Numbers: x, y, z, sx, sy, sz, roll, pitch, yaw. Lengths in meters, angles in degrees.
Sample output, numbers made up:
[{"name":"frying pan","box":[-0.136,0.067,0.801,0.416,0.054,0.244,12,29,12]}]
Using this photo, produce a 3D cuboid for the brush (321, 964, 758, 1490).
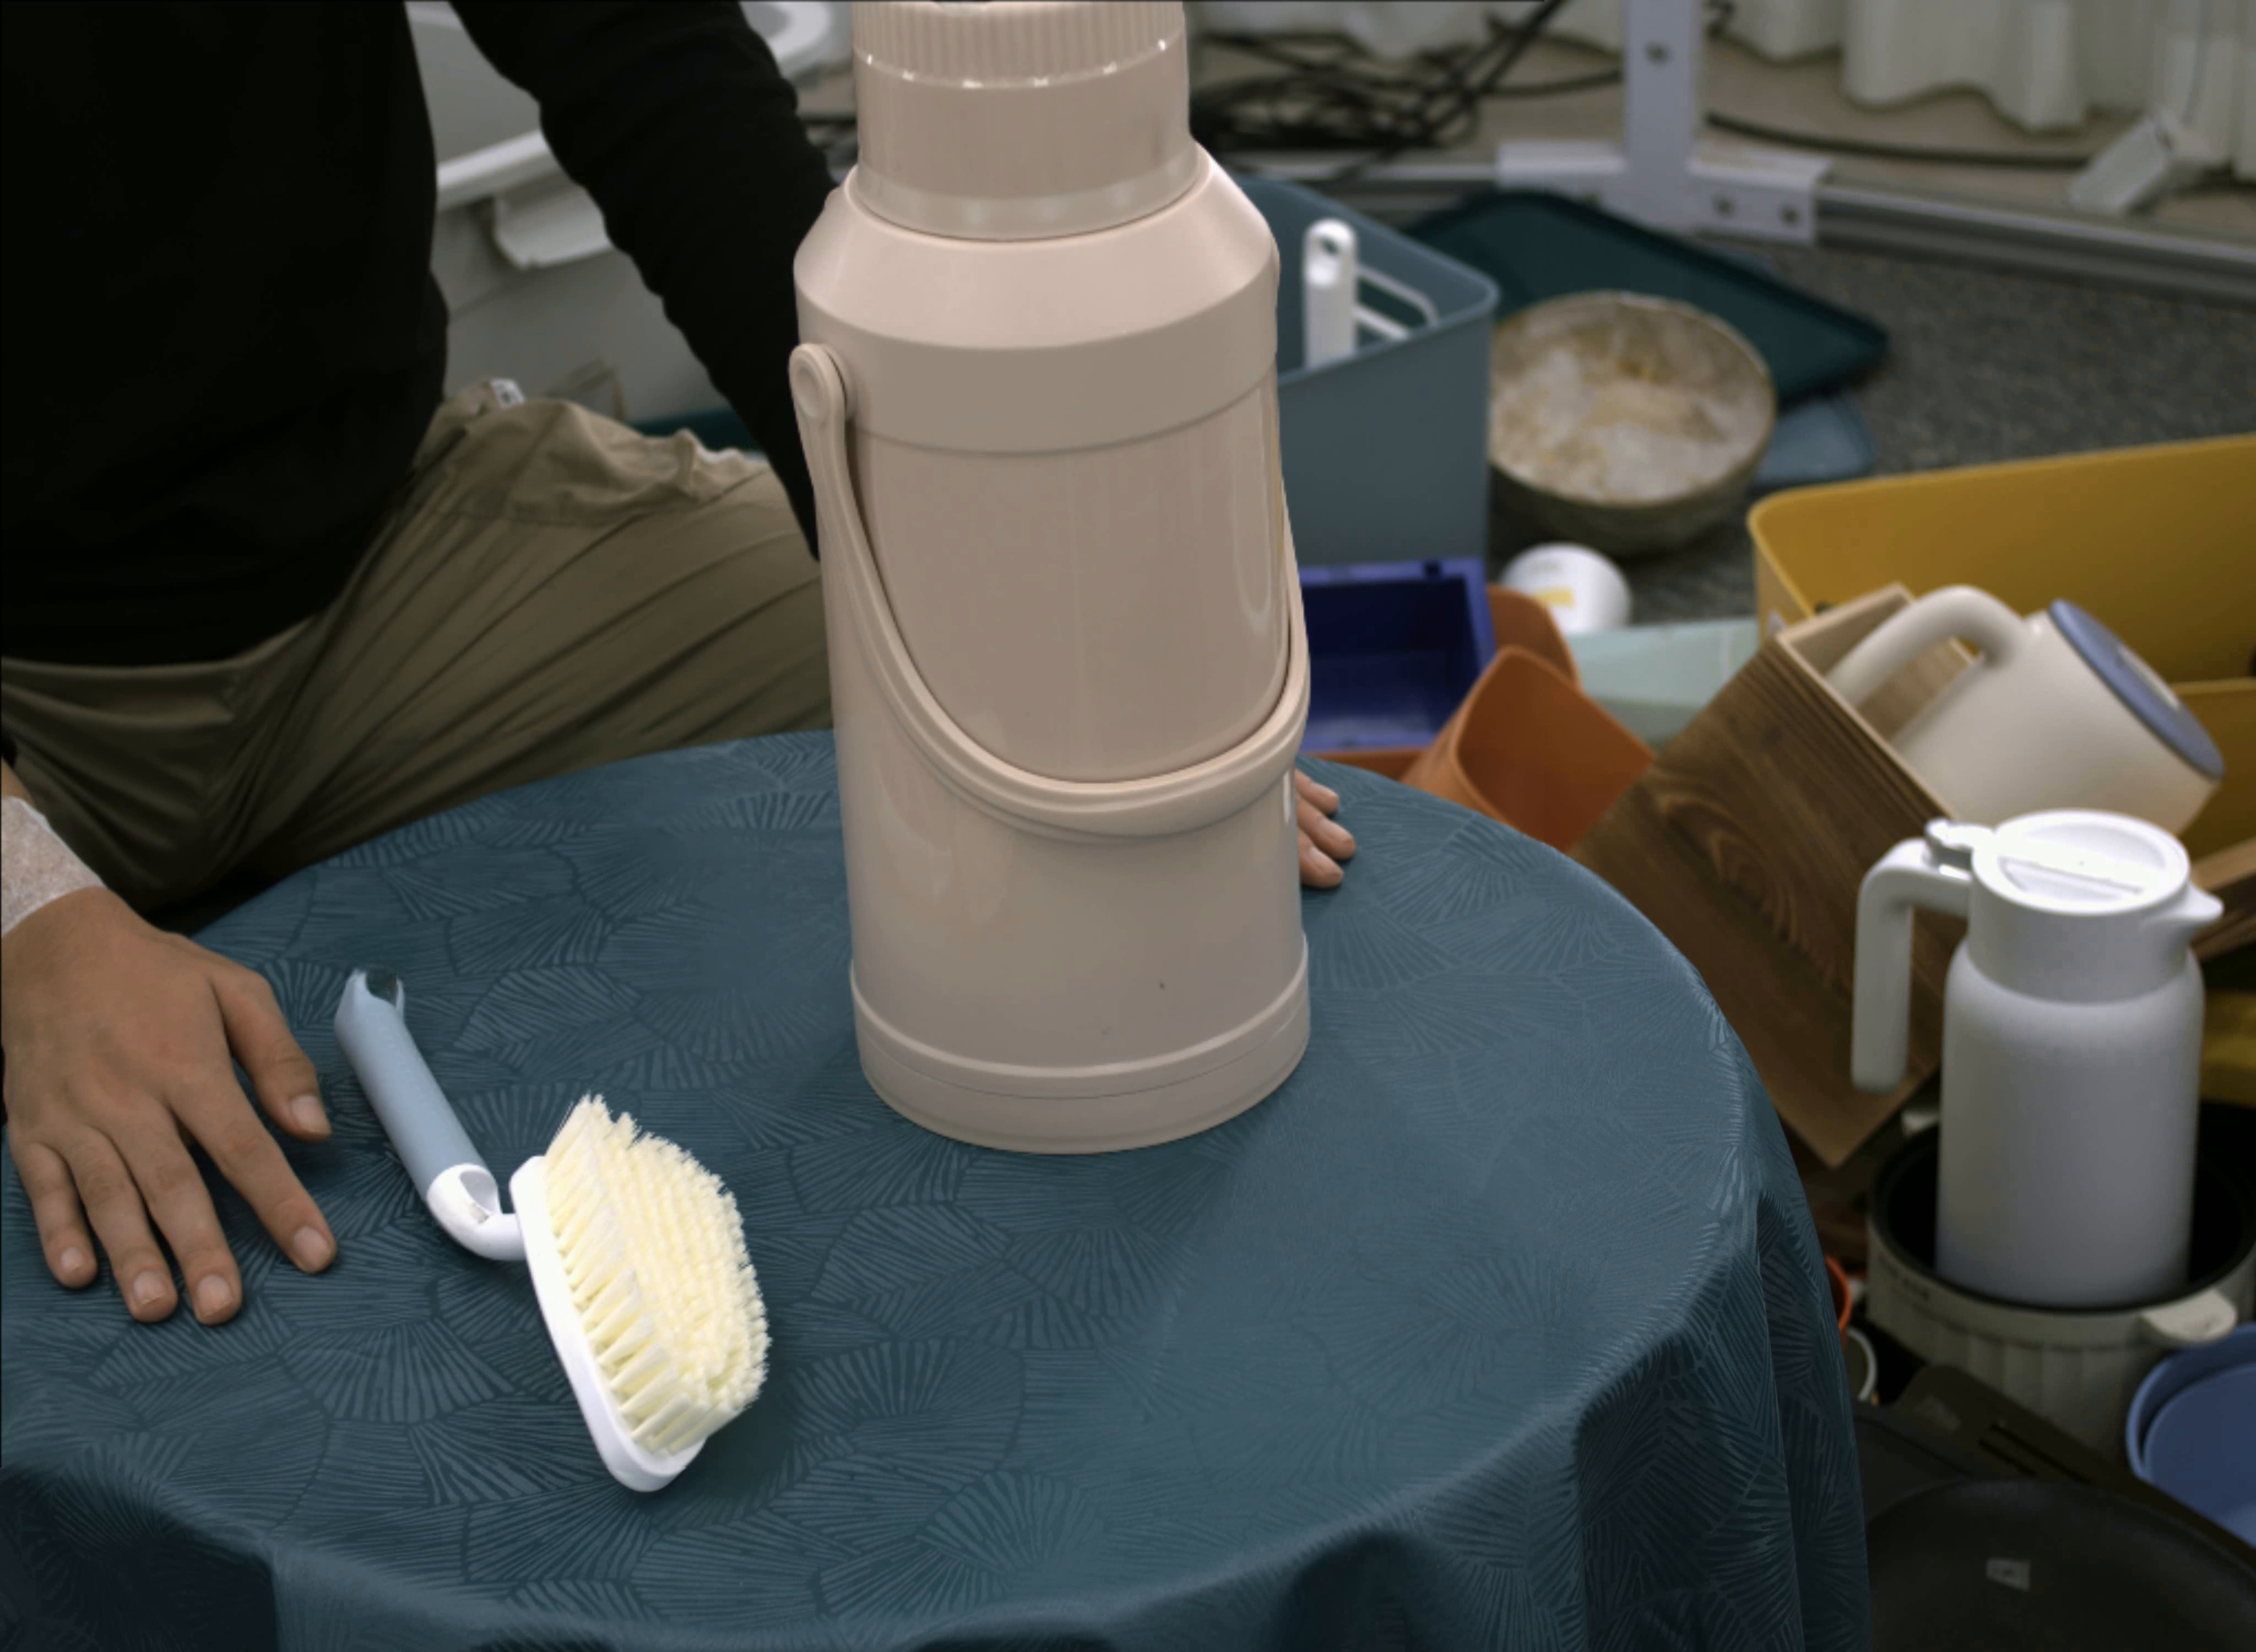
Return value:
[{"name":"brush","box":[-0.192,0.101,1.832,0.085,0.082,0.328,-18,32,-15]}]

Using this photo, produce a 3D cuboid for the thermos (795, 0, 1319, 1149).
[{"name":"thermos","box":[-0.030,-0.108,1.881,0.177,0.402,0.207,-21,32,-29]}]
